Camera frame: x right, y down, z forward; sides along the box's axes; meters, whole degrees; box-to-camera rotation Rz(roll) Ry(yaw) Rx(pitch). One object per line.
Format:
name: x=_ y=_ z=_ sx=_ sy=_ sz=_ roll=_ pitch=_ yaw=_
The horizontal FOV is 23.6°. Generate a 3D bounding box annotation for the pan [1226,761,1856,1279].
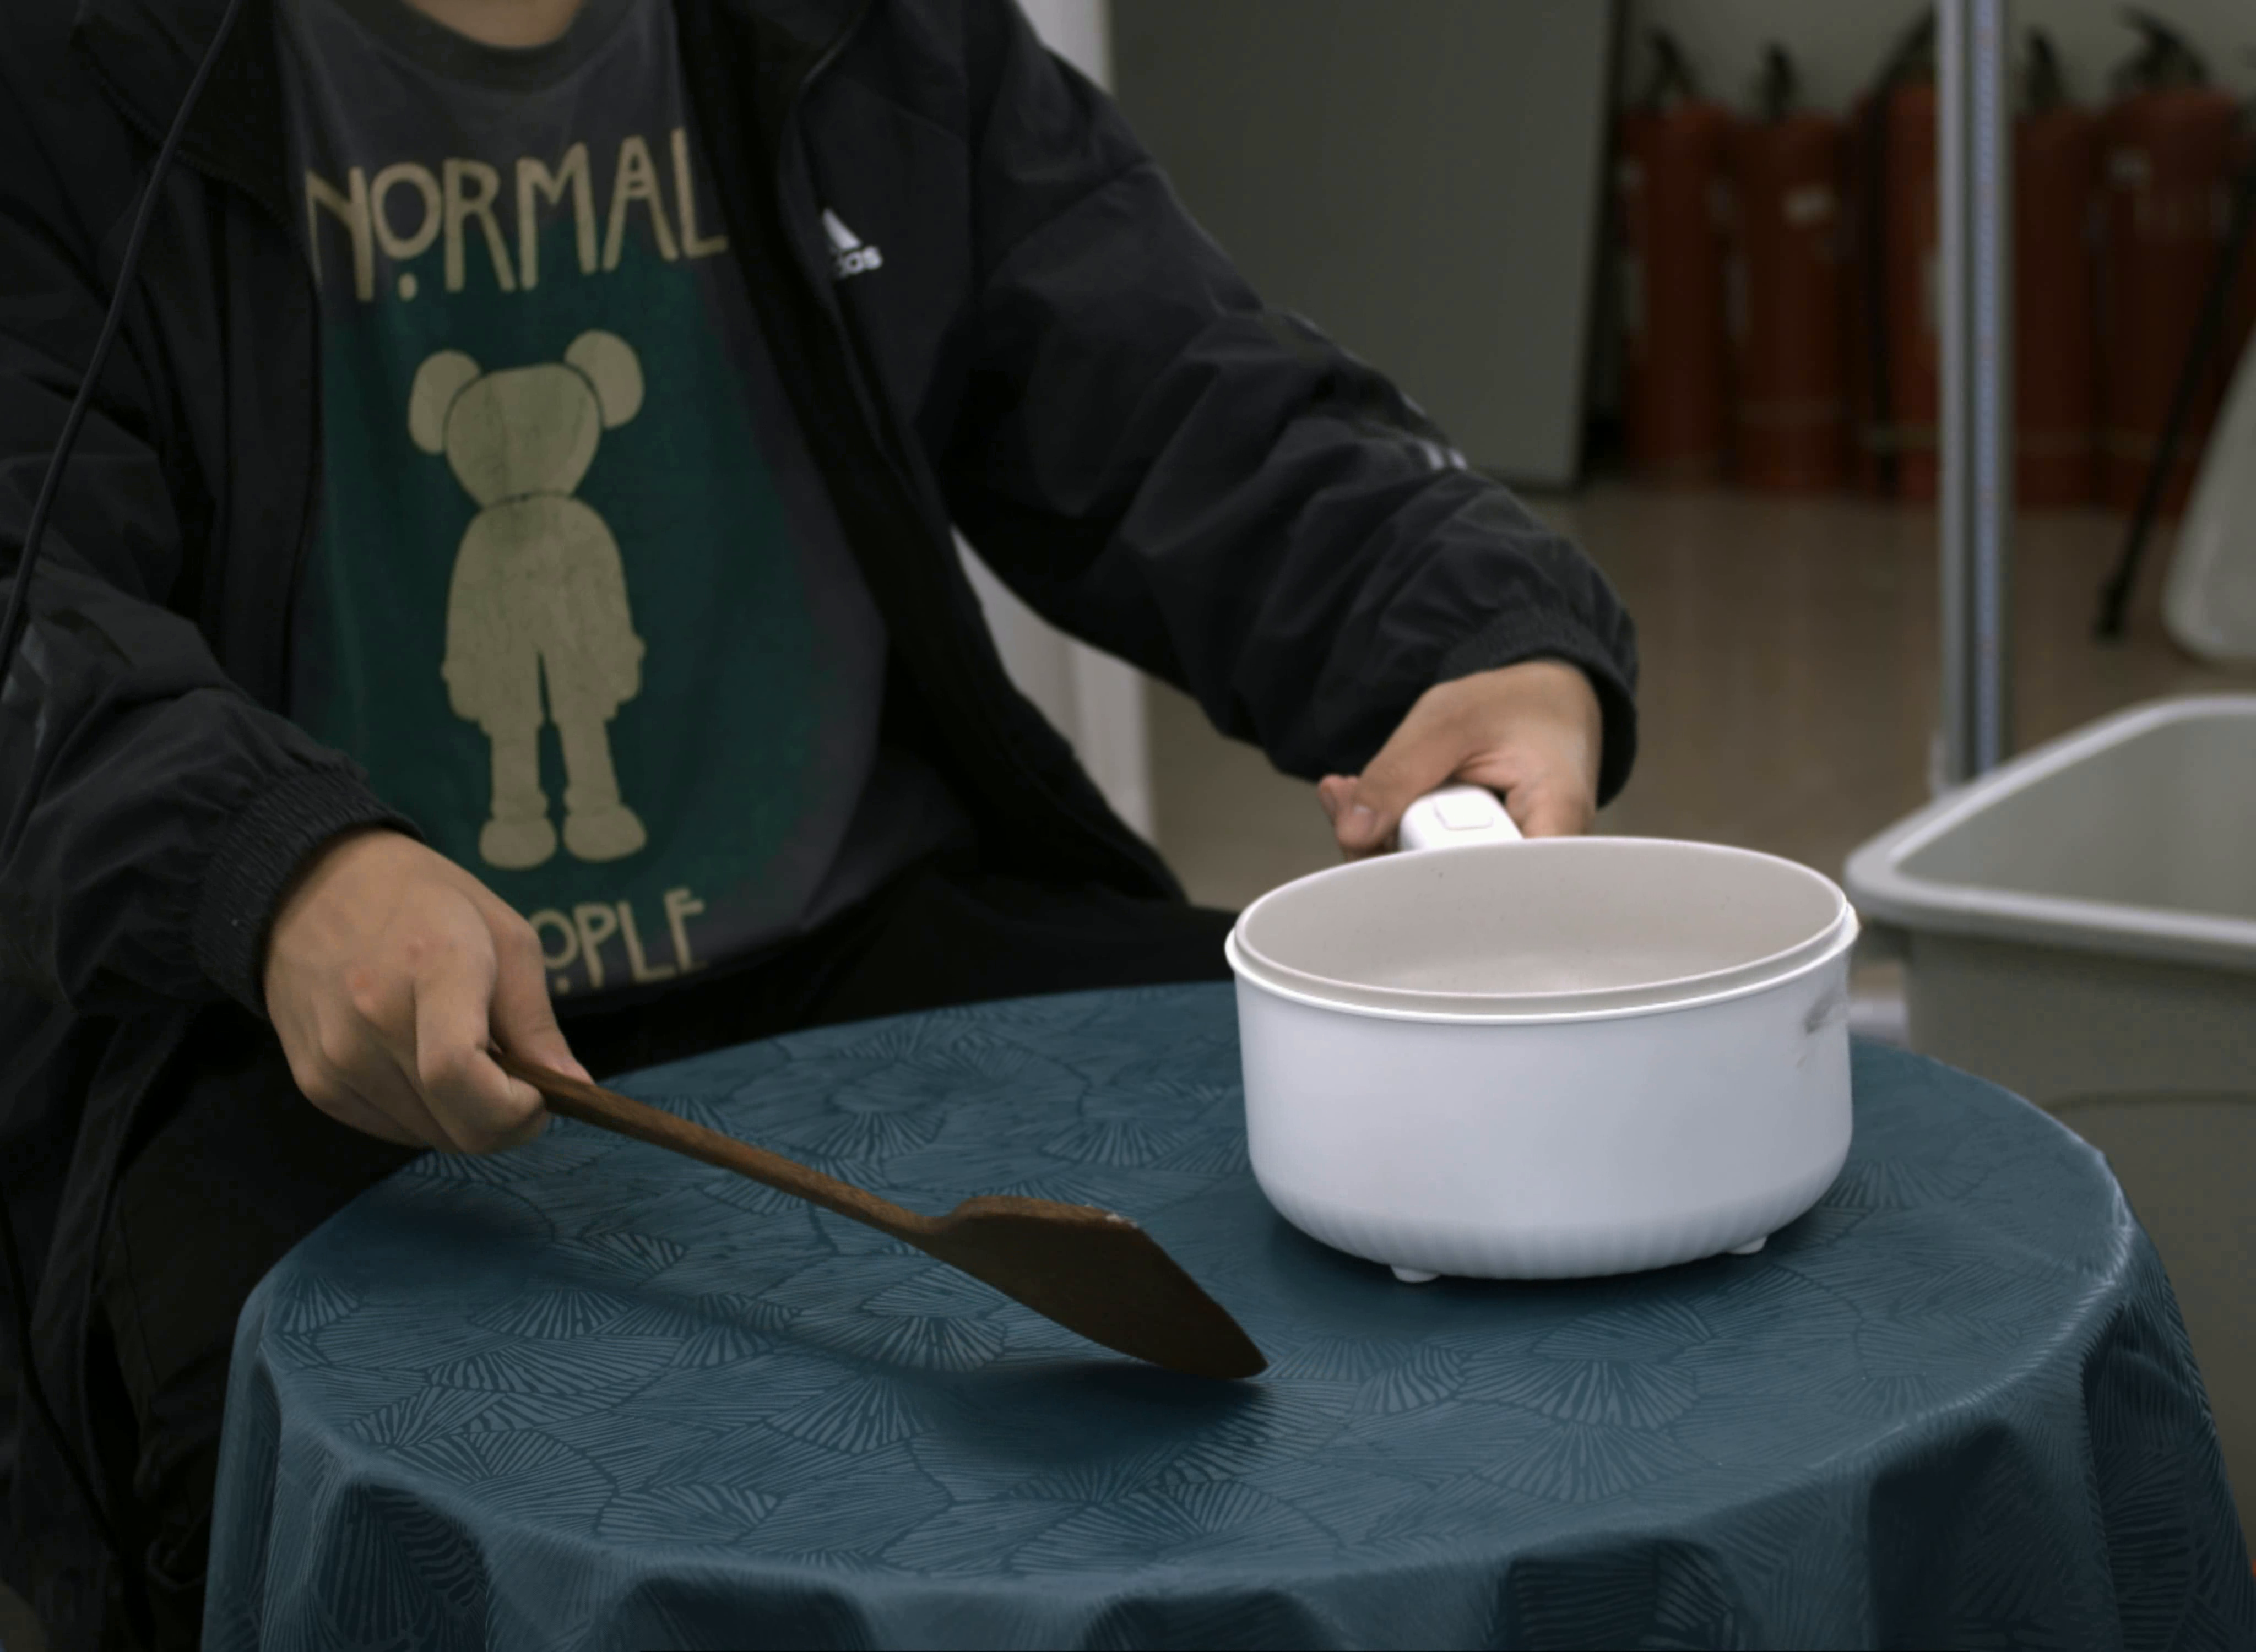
pan: x=0.127 y=0.059 z=1.784 sx=0.198 sy=0.103 sz=0.356 roll=-5 pitch=12 yaw=-3

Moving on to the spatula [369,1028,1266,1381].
spatula: x=-0.111 y=0.107 z=1.673 sx=0.389 sy=0.095 sz=0.016 roll=14 pitch=64 yaw=43
